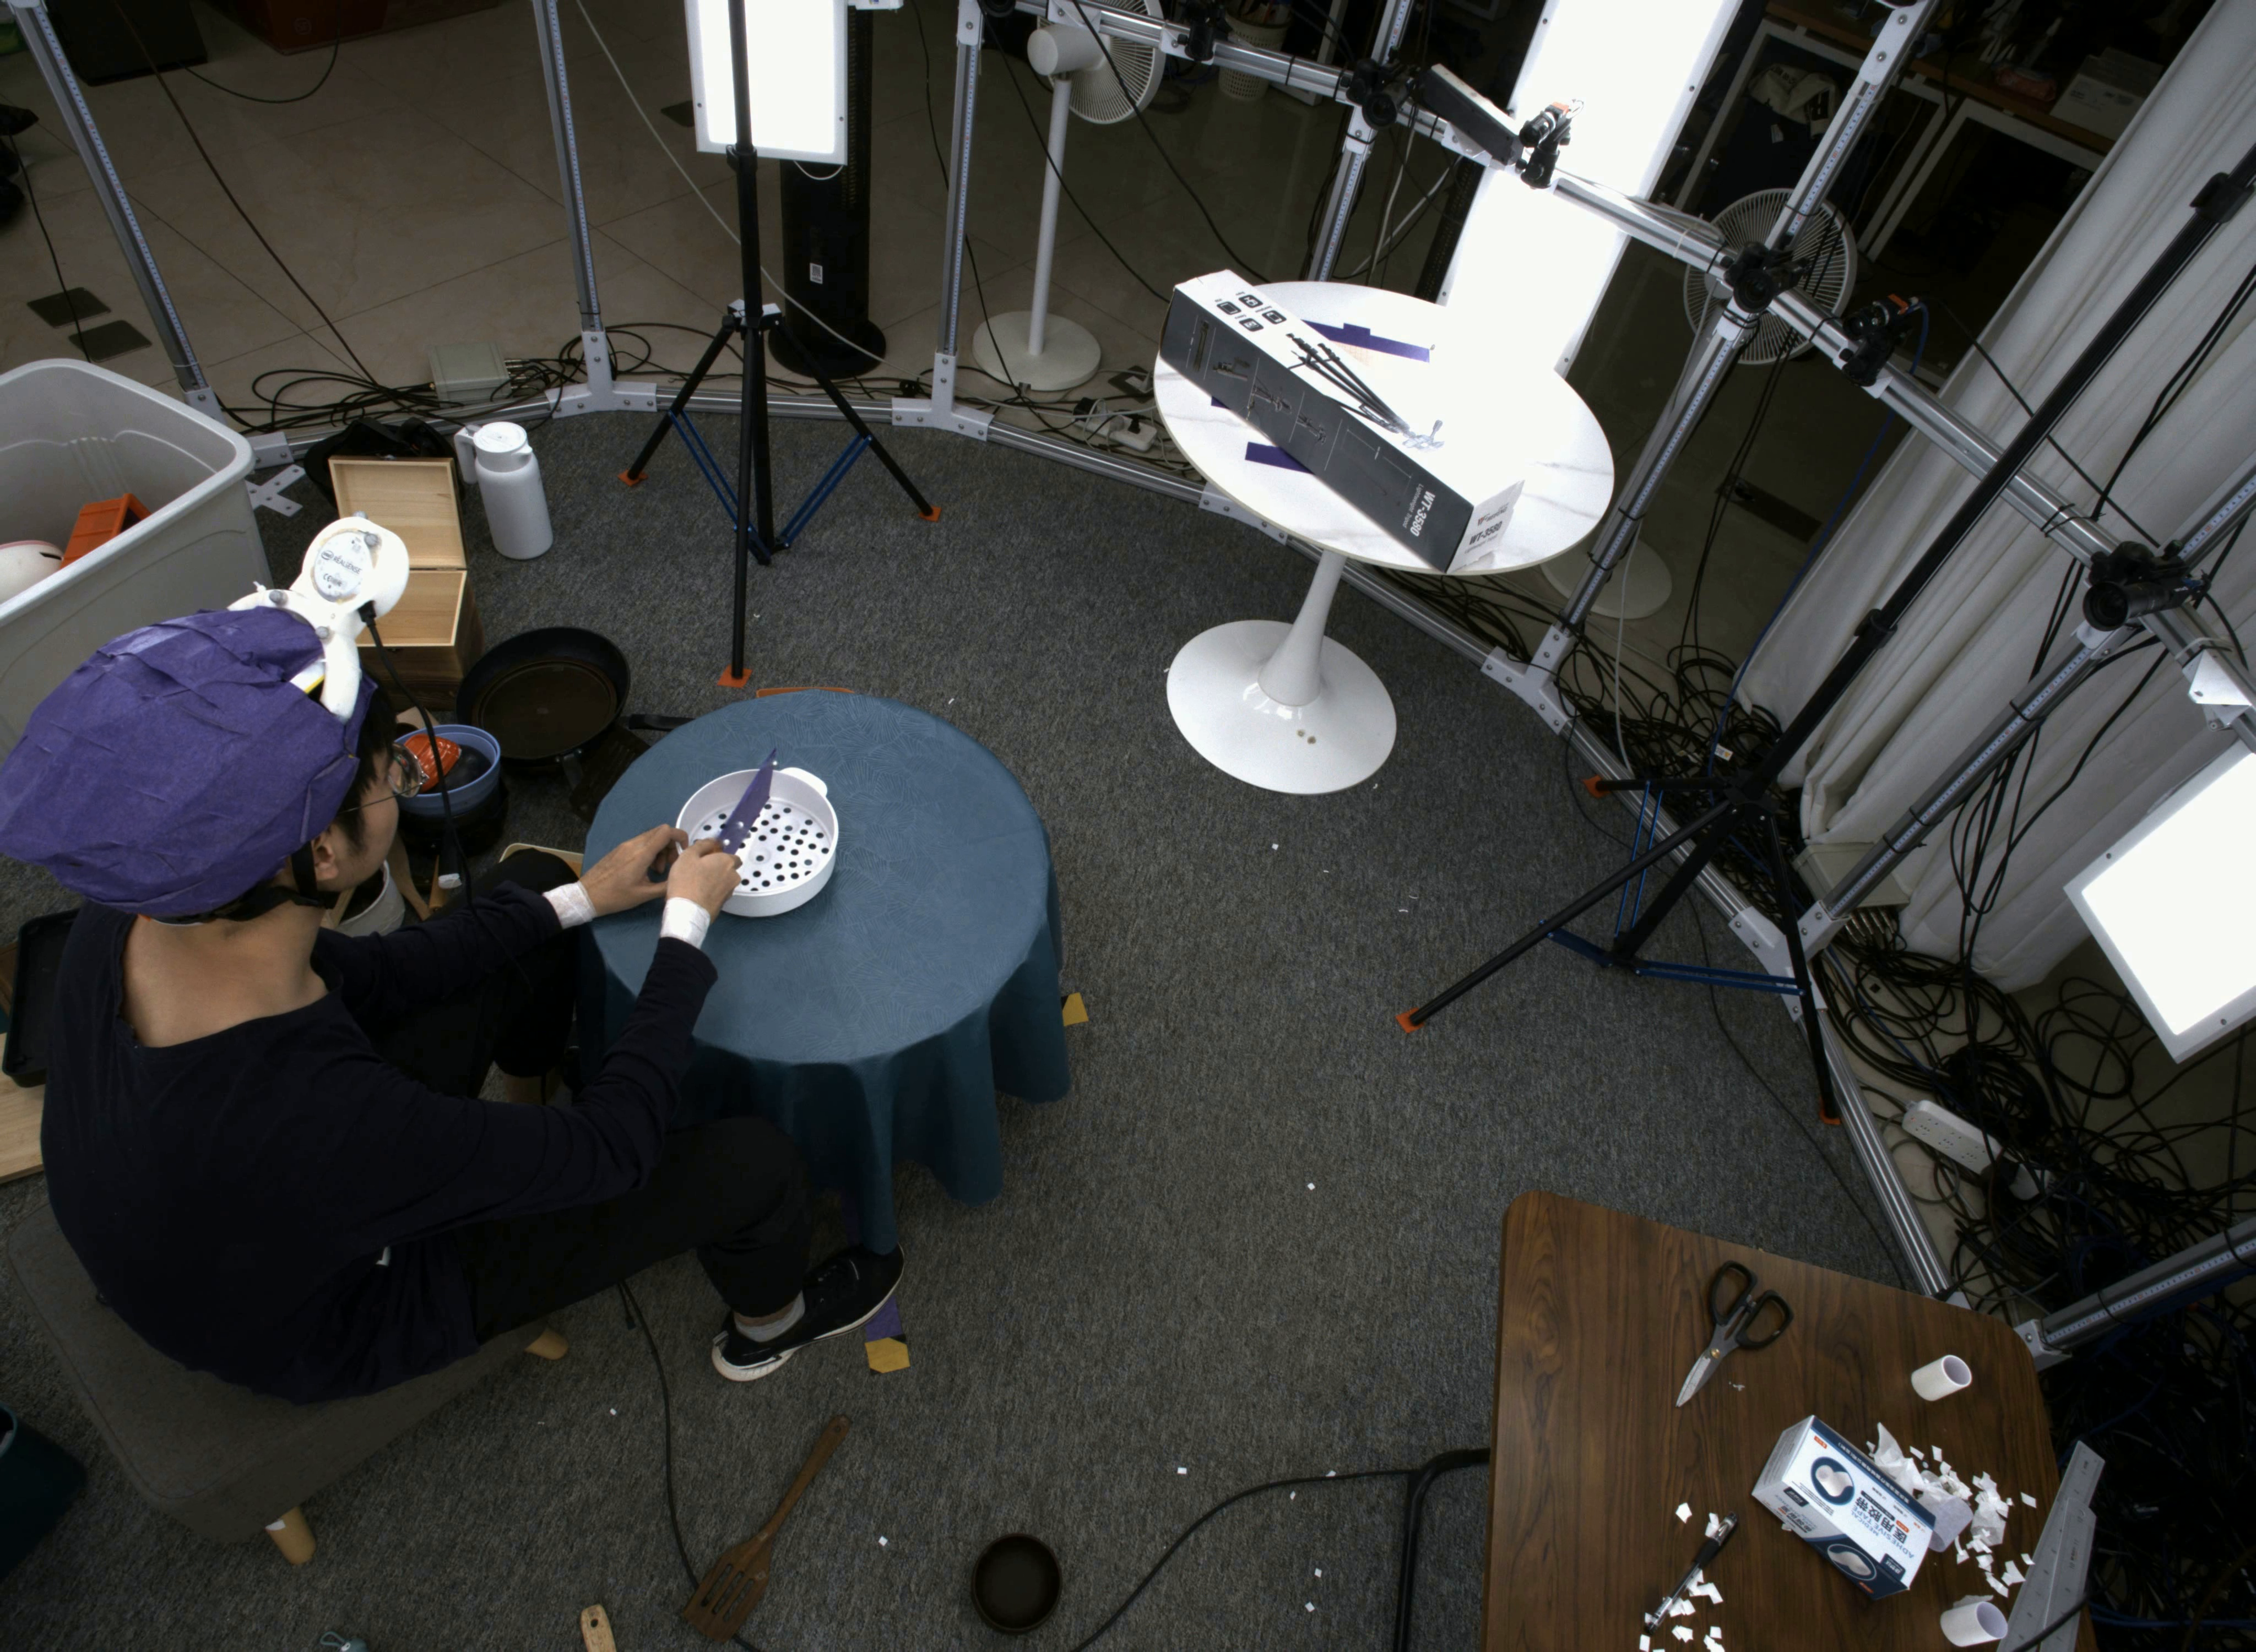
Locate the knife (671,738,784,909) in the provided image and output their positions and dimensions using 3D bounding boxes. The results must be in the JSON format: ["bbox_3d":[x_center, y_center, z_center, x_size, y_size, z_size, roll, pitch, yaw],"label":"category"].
[{"bbox_3d":[-0.479,0.015,1.572,0.032,0.106,0.310,17,37,-1],"label":"knife"}]

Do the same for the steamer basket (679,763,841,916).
[{"bbox_3d":[-0.470,0.020,1.666,0.198,0.071,0.229,28,55,9],"label":"steamer basket"}]
